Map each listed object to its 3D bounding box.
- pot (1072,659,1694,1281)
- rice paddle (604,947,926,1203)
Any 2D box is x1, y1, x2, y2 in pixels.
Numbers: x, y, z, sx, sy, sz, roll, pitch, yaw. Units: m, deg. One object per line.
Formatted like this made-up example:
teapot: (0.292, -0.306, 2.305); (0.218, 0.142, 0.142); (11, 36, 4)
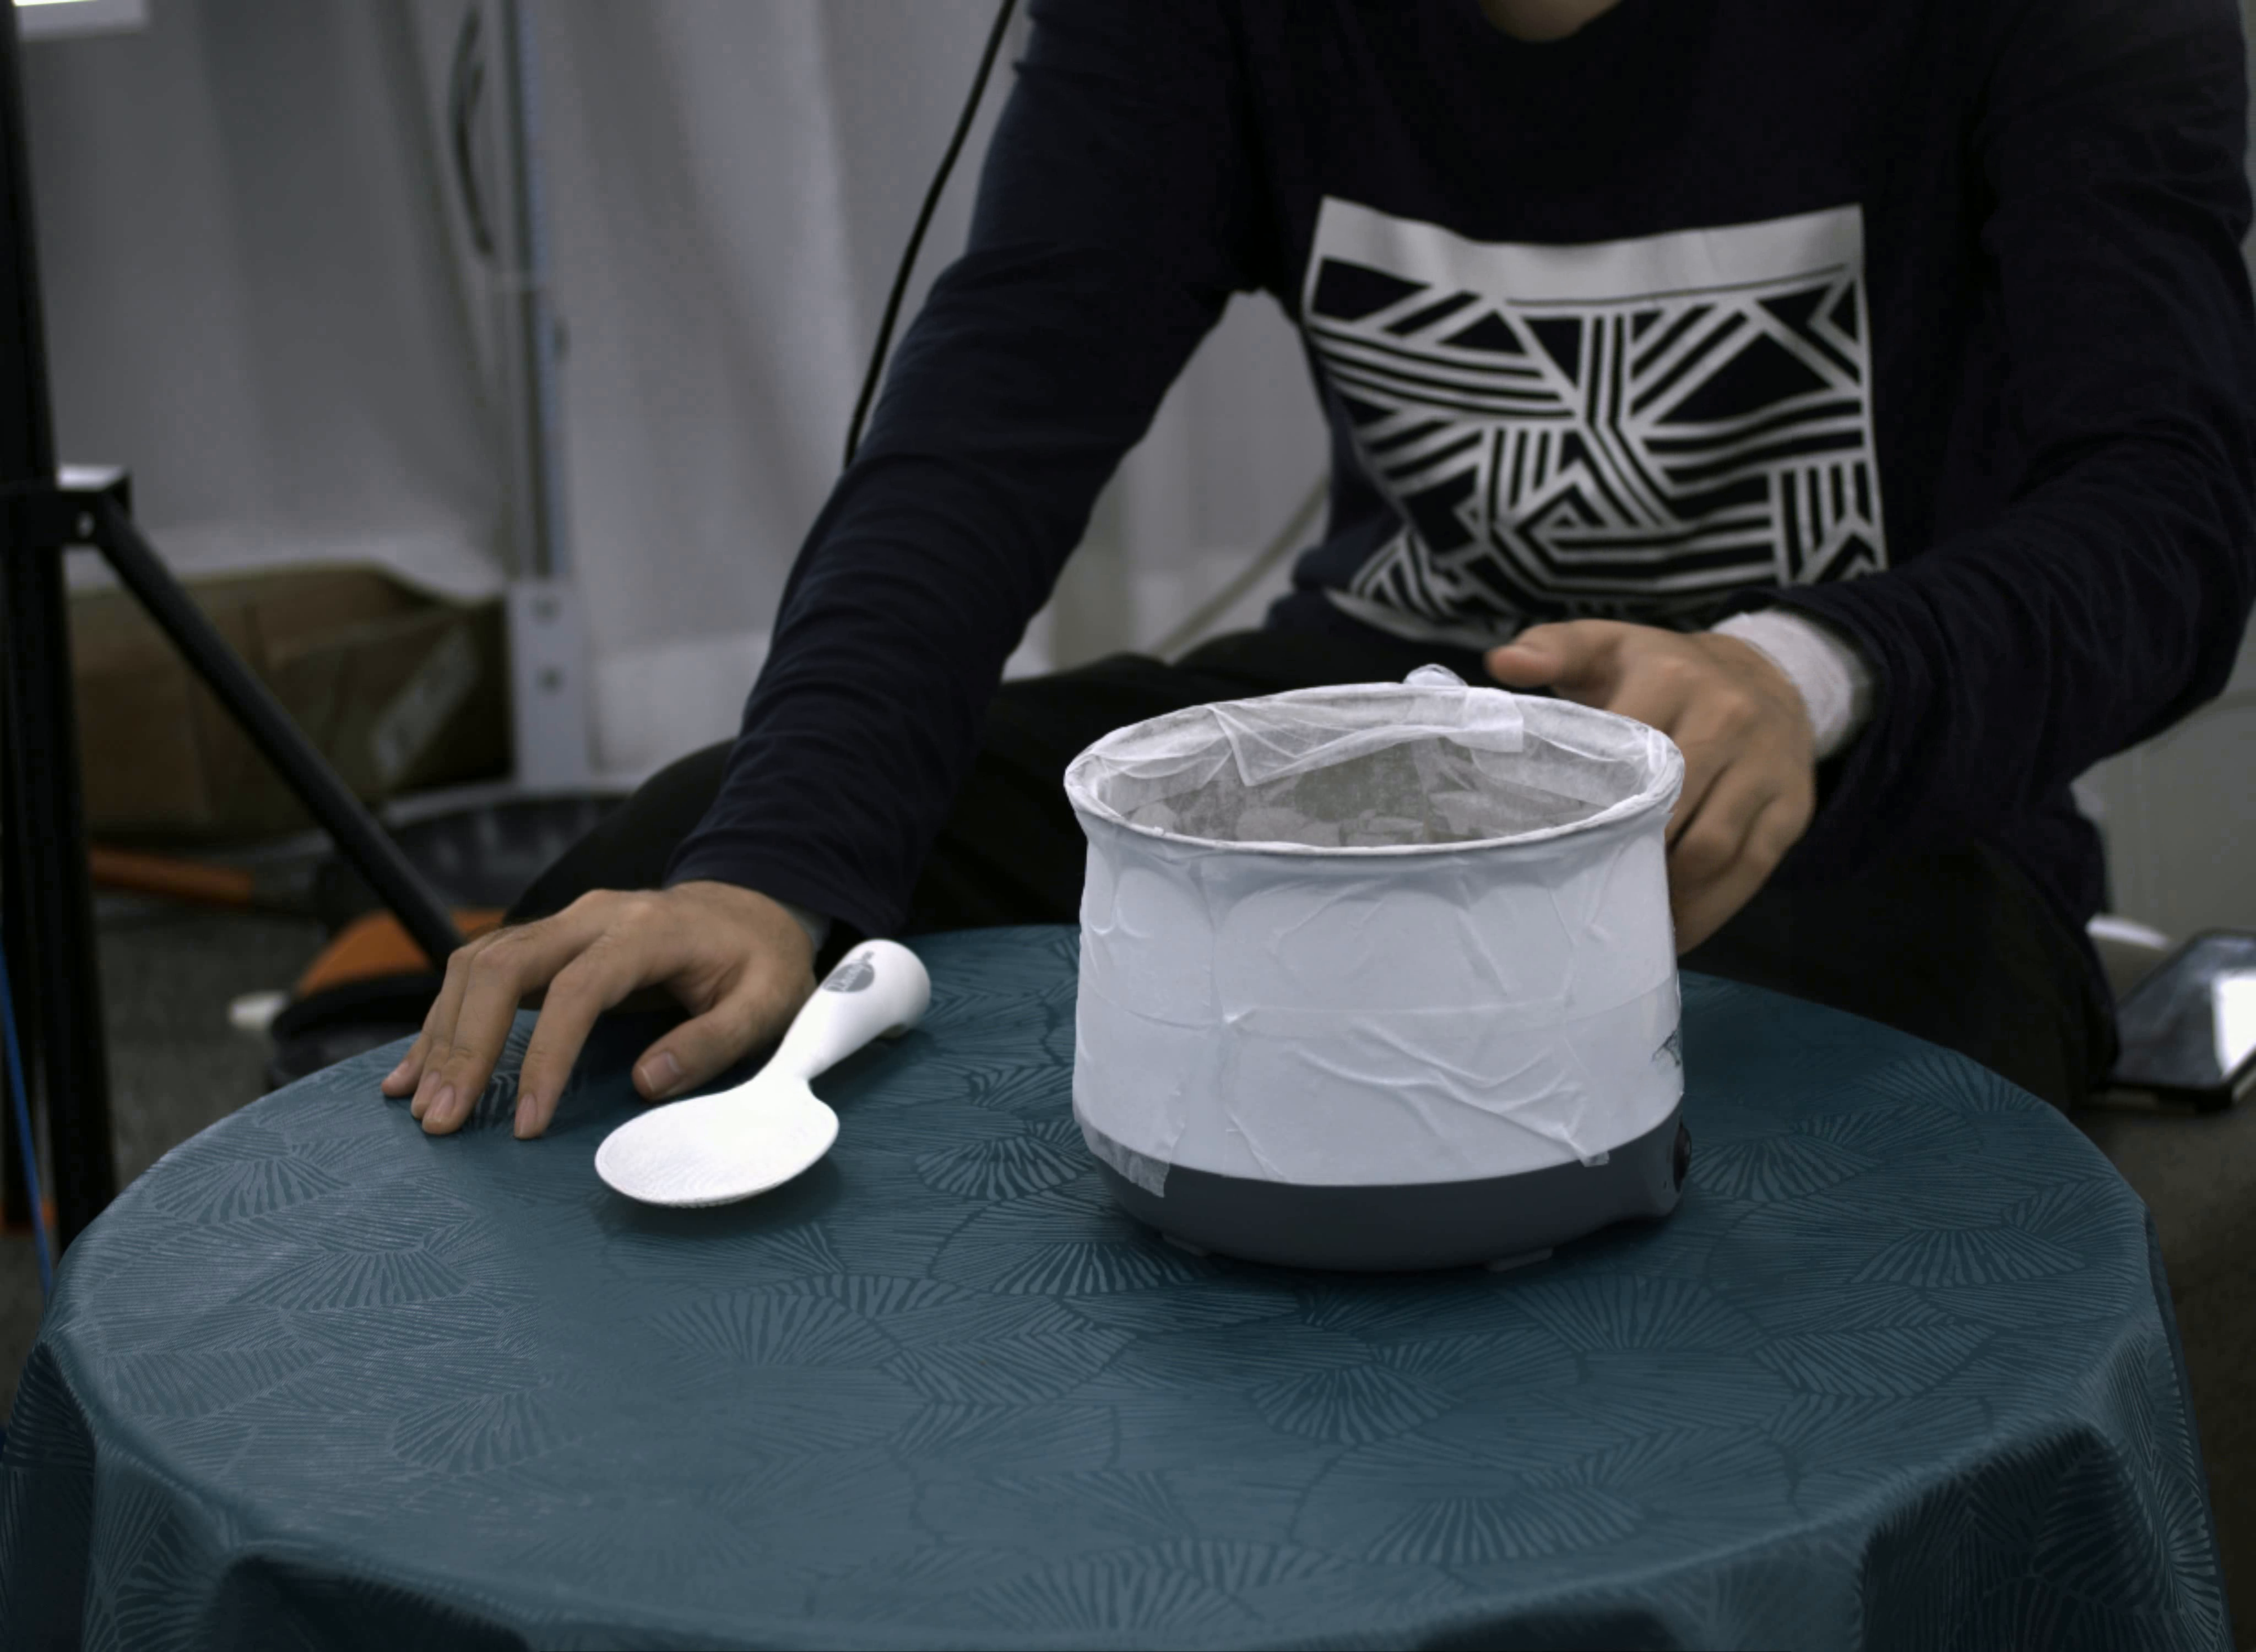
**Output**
pot: (0.077, 0.036, 1.553); (0.179, 0.136, 0.232); (3, 17, 11)
rice paddle: (-0.104, 0.079, 1.631); (0.069, 0.029, 0.203); (0, 15, 15)
